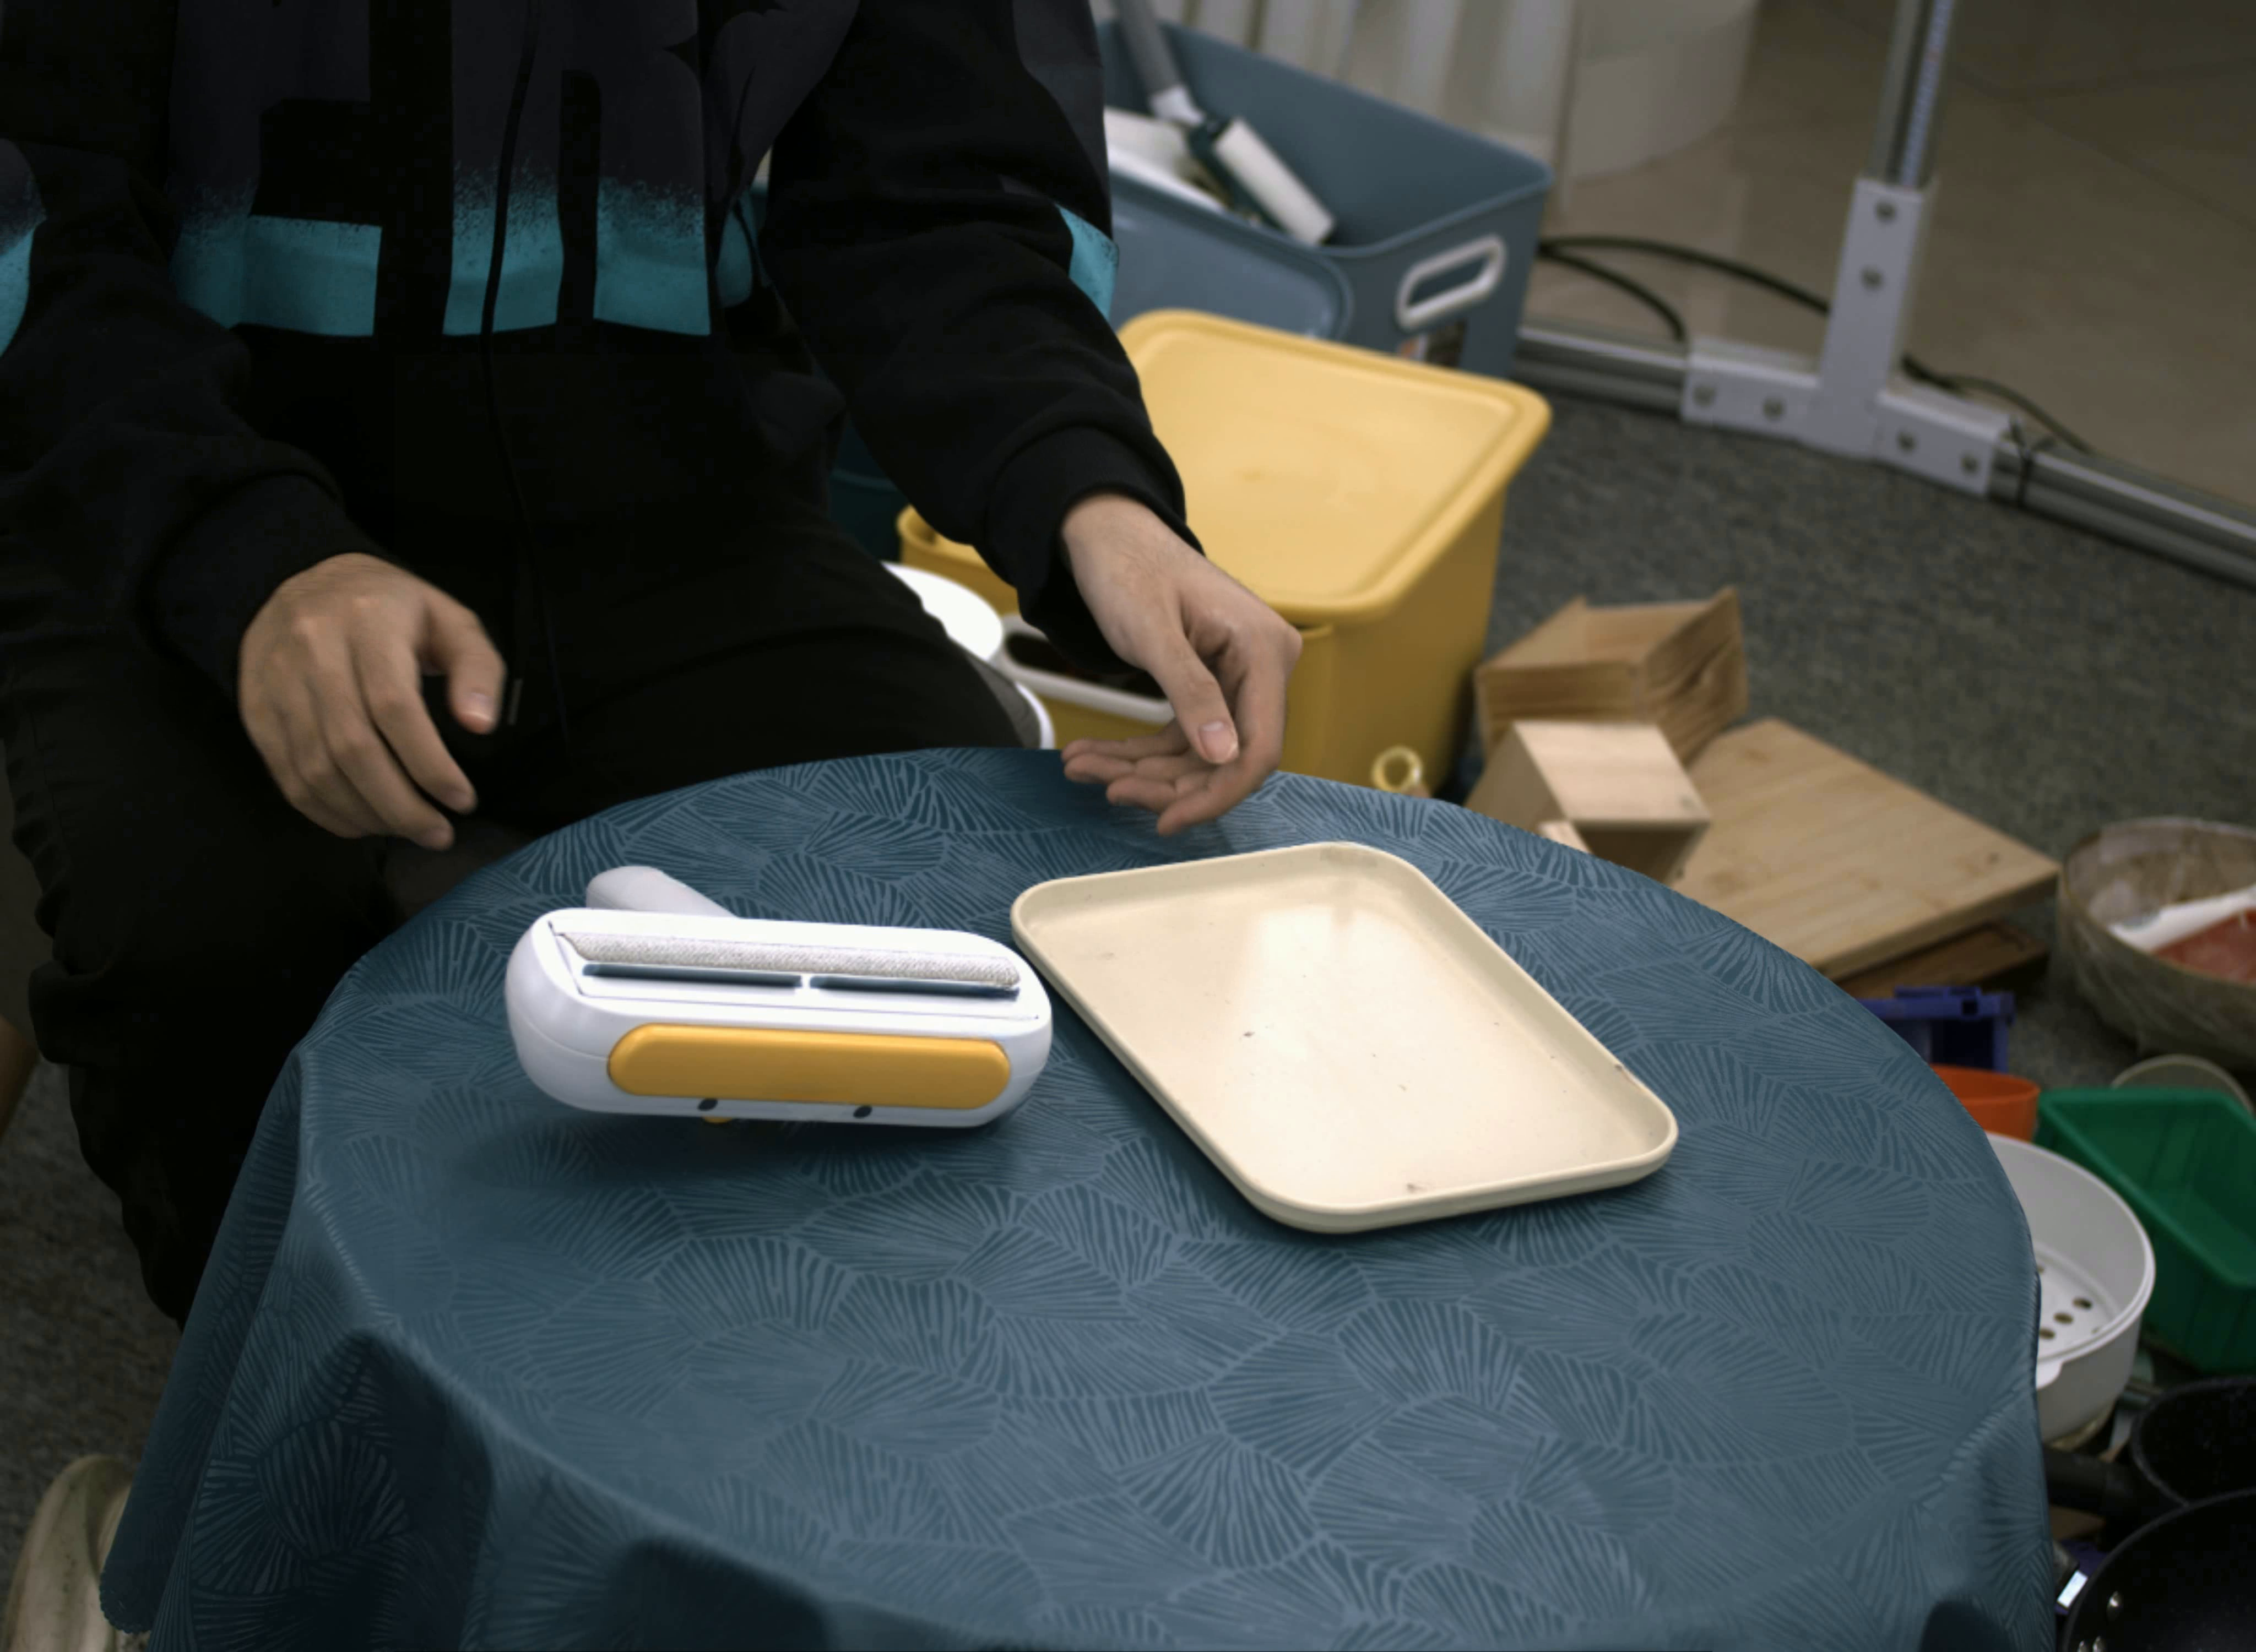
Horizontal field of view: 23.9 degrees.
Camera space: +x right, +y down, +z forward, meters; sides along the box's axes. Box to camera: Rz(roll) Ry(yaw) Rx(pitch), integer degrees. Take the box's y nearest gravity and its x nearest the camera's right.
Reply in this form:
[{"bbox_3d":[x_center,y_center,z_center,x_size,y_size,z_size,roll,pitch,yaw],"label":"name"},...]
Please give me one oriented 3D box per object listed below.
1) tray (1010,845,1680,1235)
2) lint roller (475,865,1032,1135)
[{"bbox_3d":[0.073,0.074,1.893,0.170,0.017,0.242,-8,30,-25],"label":"tray"},{"bbox_3d":[-0.145,0.046,1.845,0.191,0.074,0.194,1,25,-22],"label":"lint roller"}]
